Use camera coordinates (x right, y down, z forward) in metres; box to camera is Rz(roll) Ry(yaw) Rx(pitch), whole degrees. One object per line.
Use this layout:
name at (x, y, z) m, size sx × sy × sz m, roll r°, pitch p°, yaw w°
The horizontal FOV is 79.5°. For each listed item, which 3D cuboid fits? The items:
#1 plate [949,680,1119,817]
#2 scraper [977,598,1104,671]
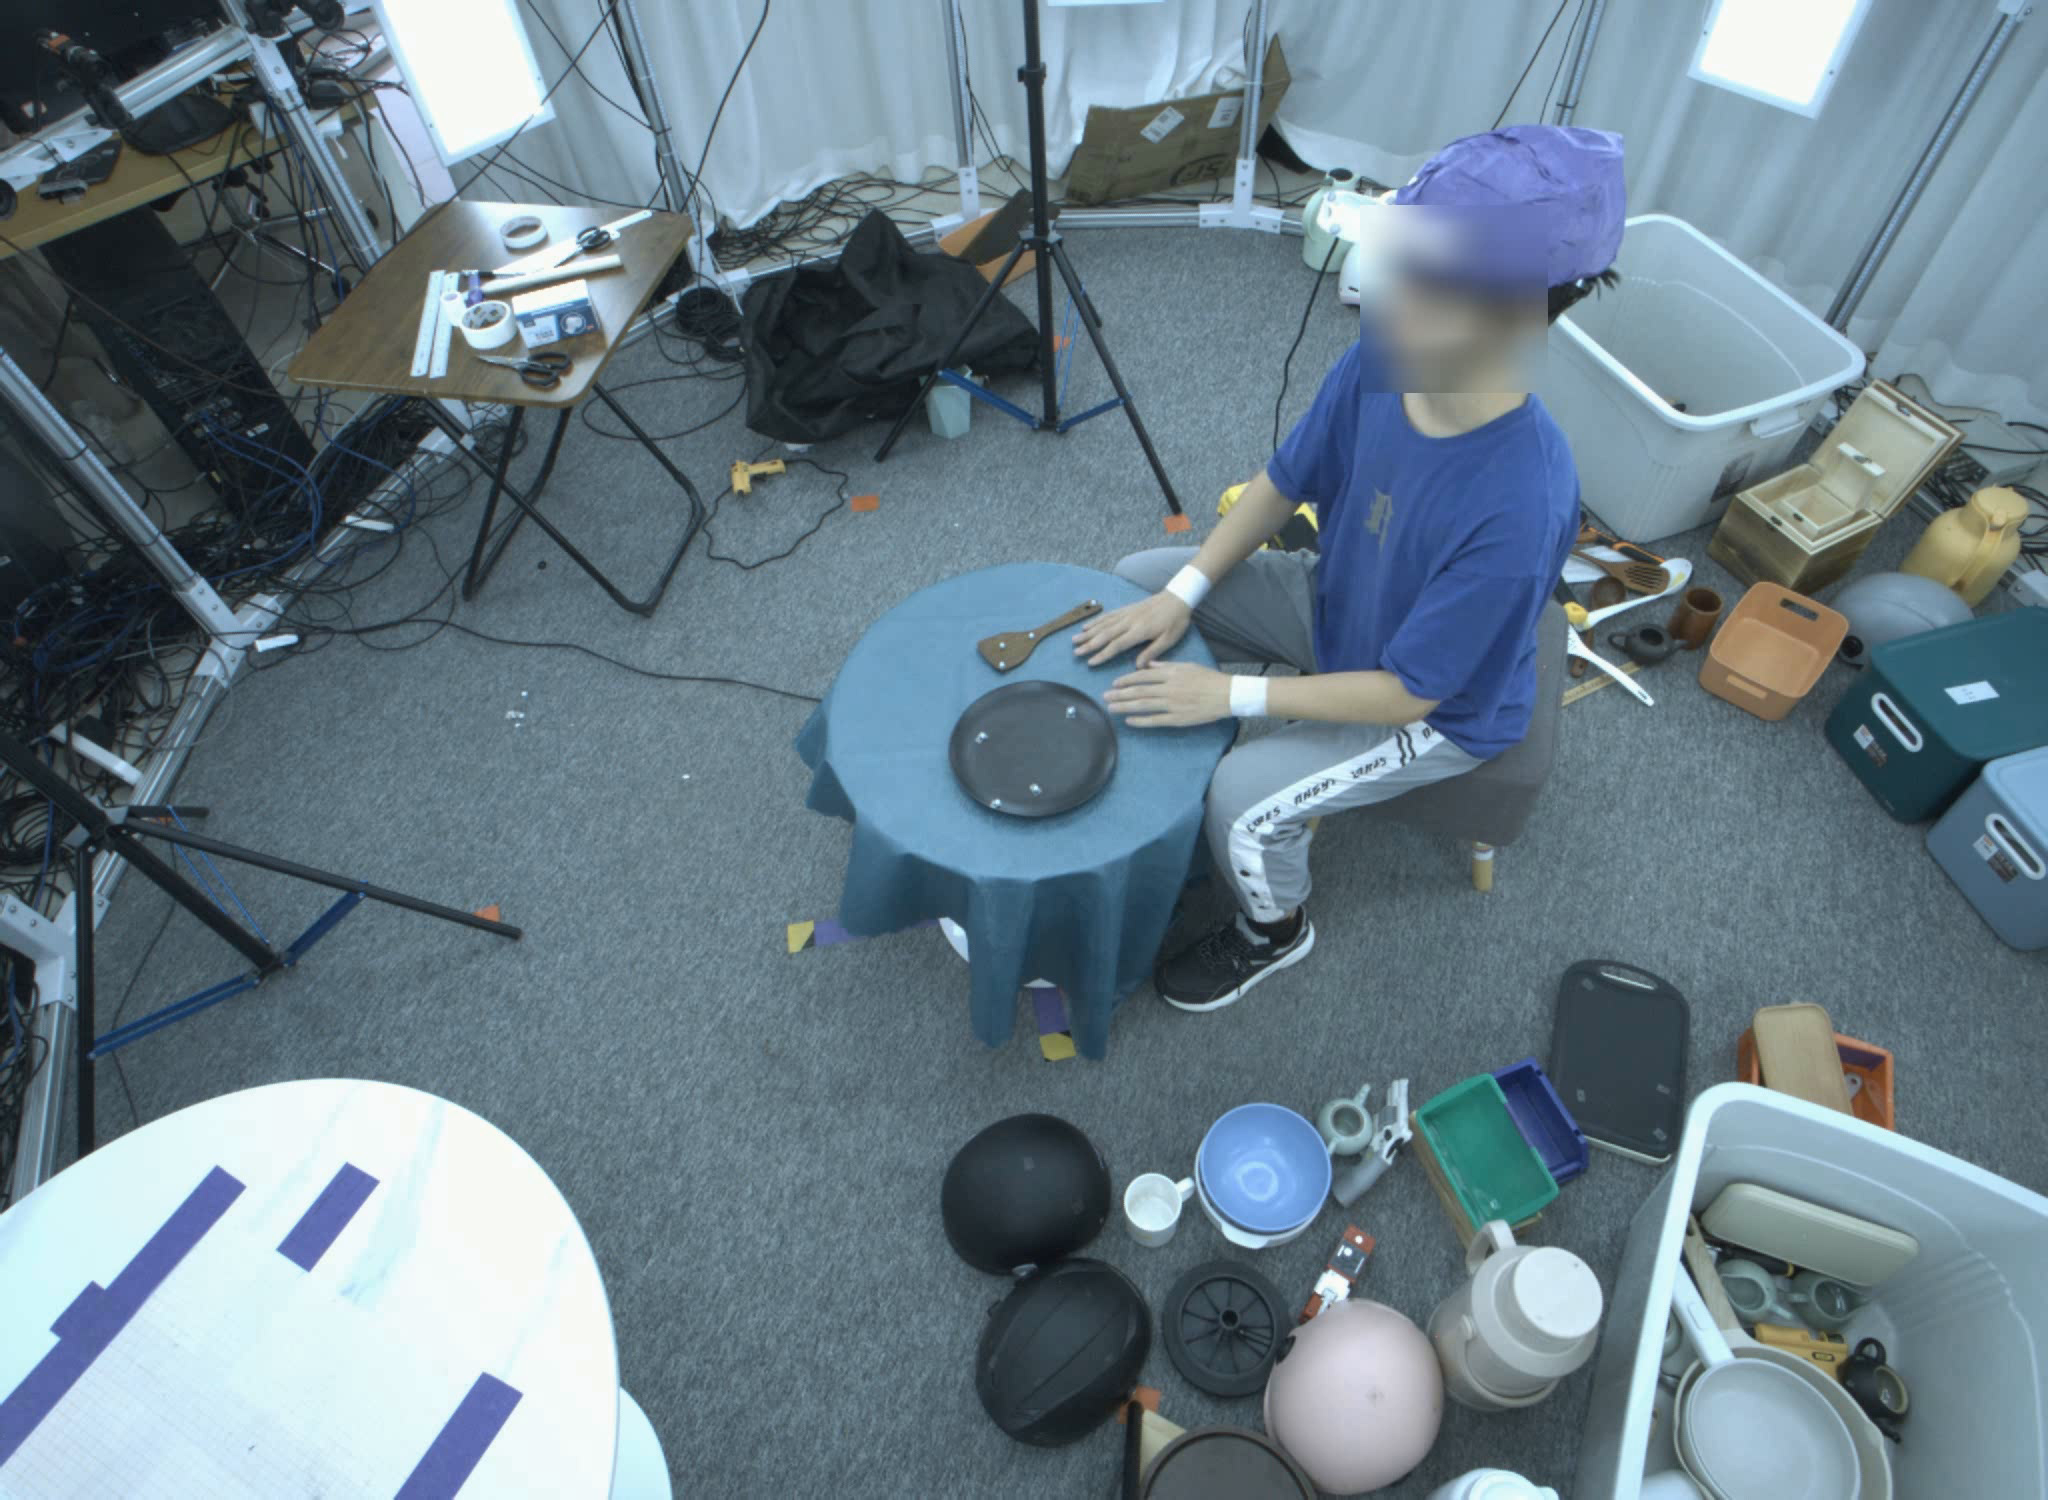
plate at (0.014, -0.001, 1.764) m, size 0.244 × 0.024 × 0.242 m, roll -1°, pitch 54°, yaw 2°
scraper at (0.031, -0.185, 1.904) m, size 0.213 × 0.011 × 0.074 m, roll -28°, pitch 59°, yaw -18°
